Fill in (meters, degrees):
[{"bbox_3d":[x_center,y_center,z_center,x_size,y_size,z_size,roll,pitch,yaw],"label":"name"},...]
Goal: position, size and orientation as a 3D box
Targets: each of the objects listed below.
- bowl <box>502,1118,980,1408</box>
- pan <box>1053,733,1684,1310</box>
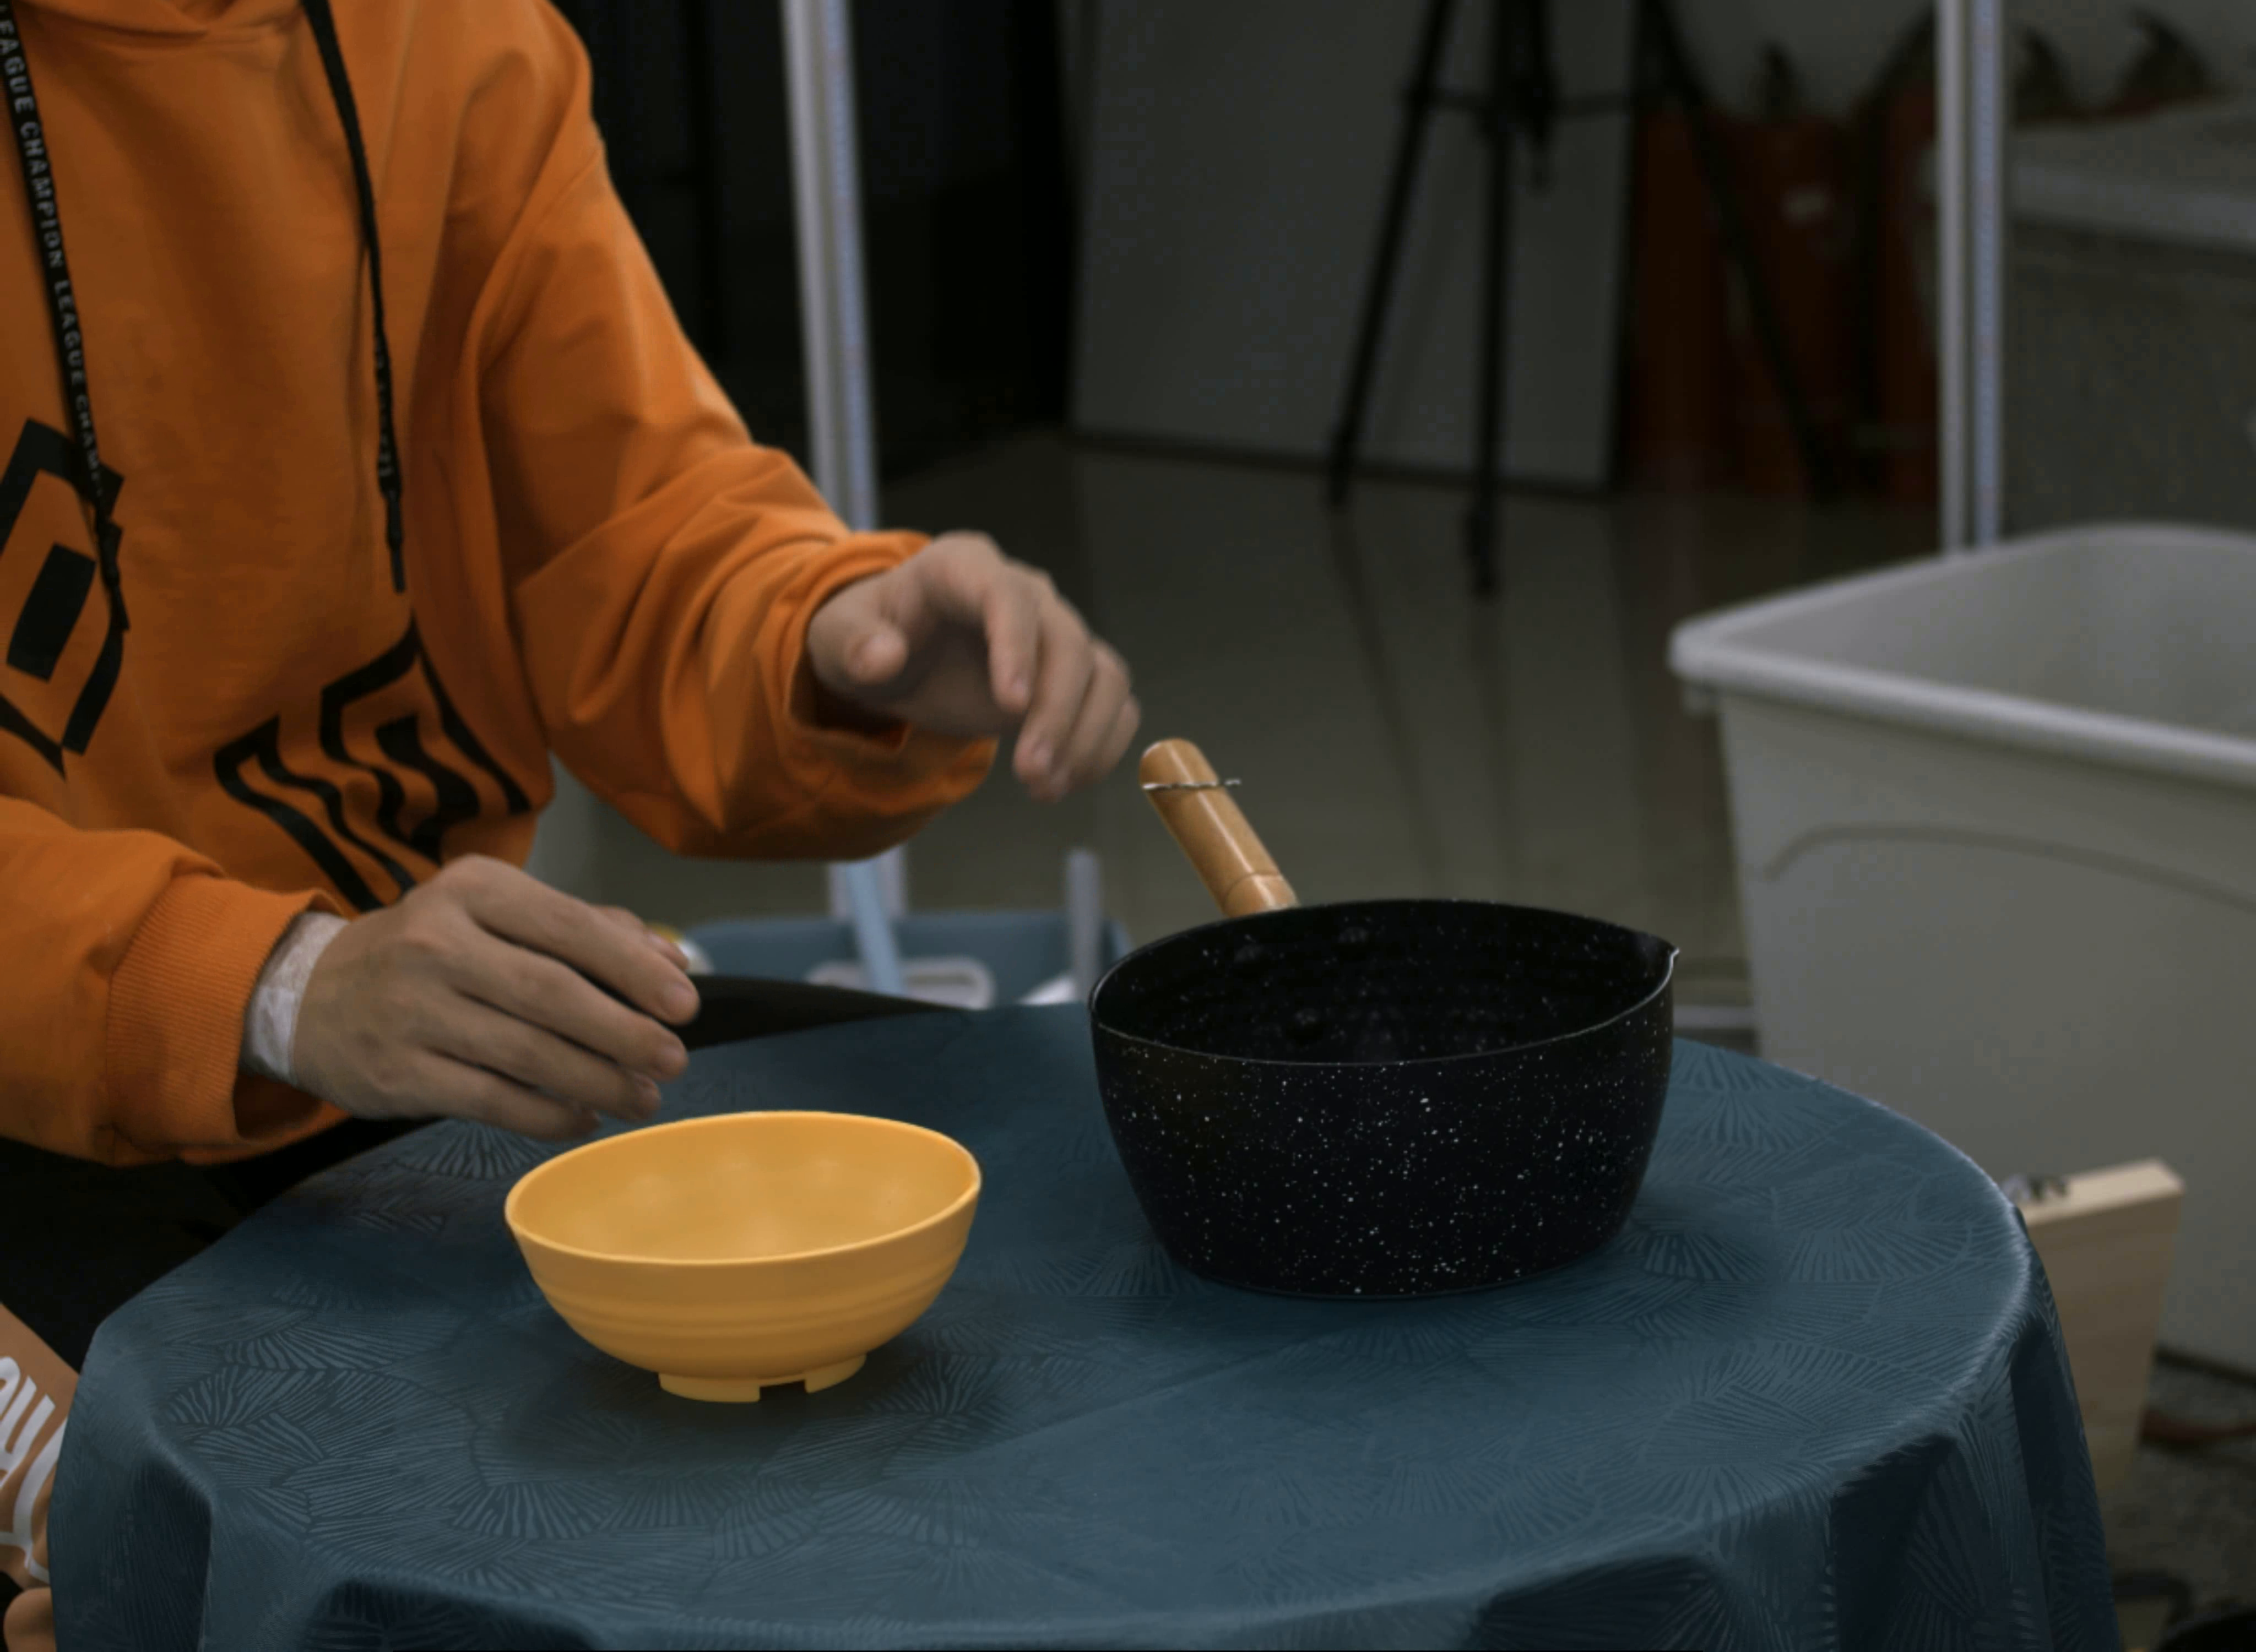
[{"bbox_3d":[-0.115,0.136,1.623,0.143,0.061,0.145,-3,13,0],"label":"bowl"},{"bbox_3d":[0.060,0.059,1.779,0.203,0.109,0.345,-9,16,-14],"label":"pan"}]
